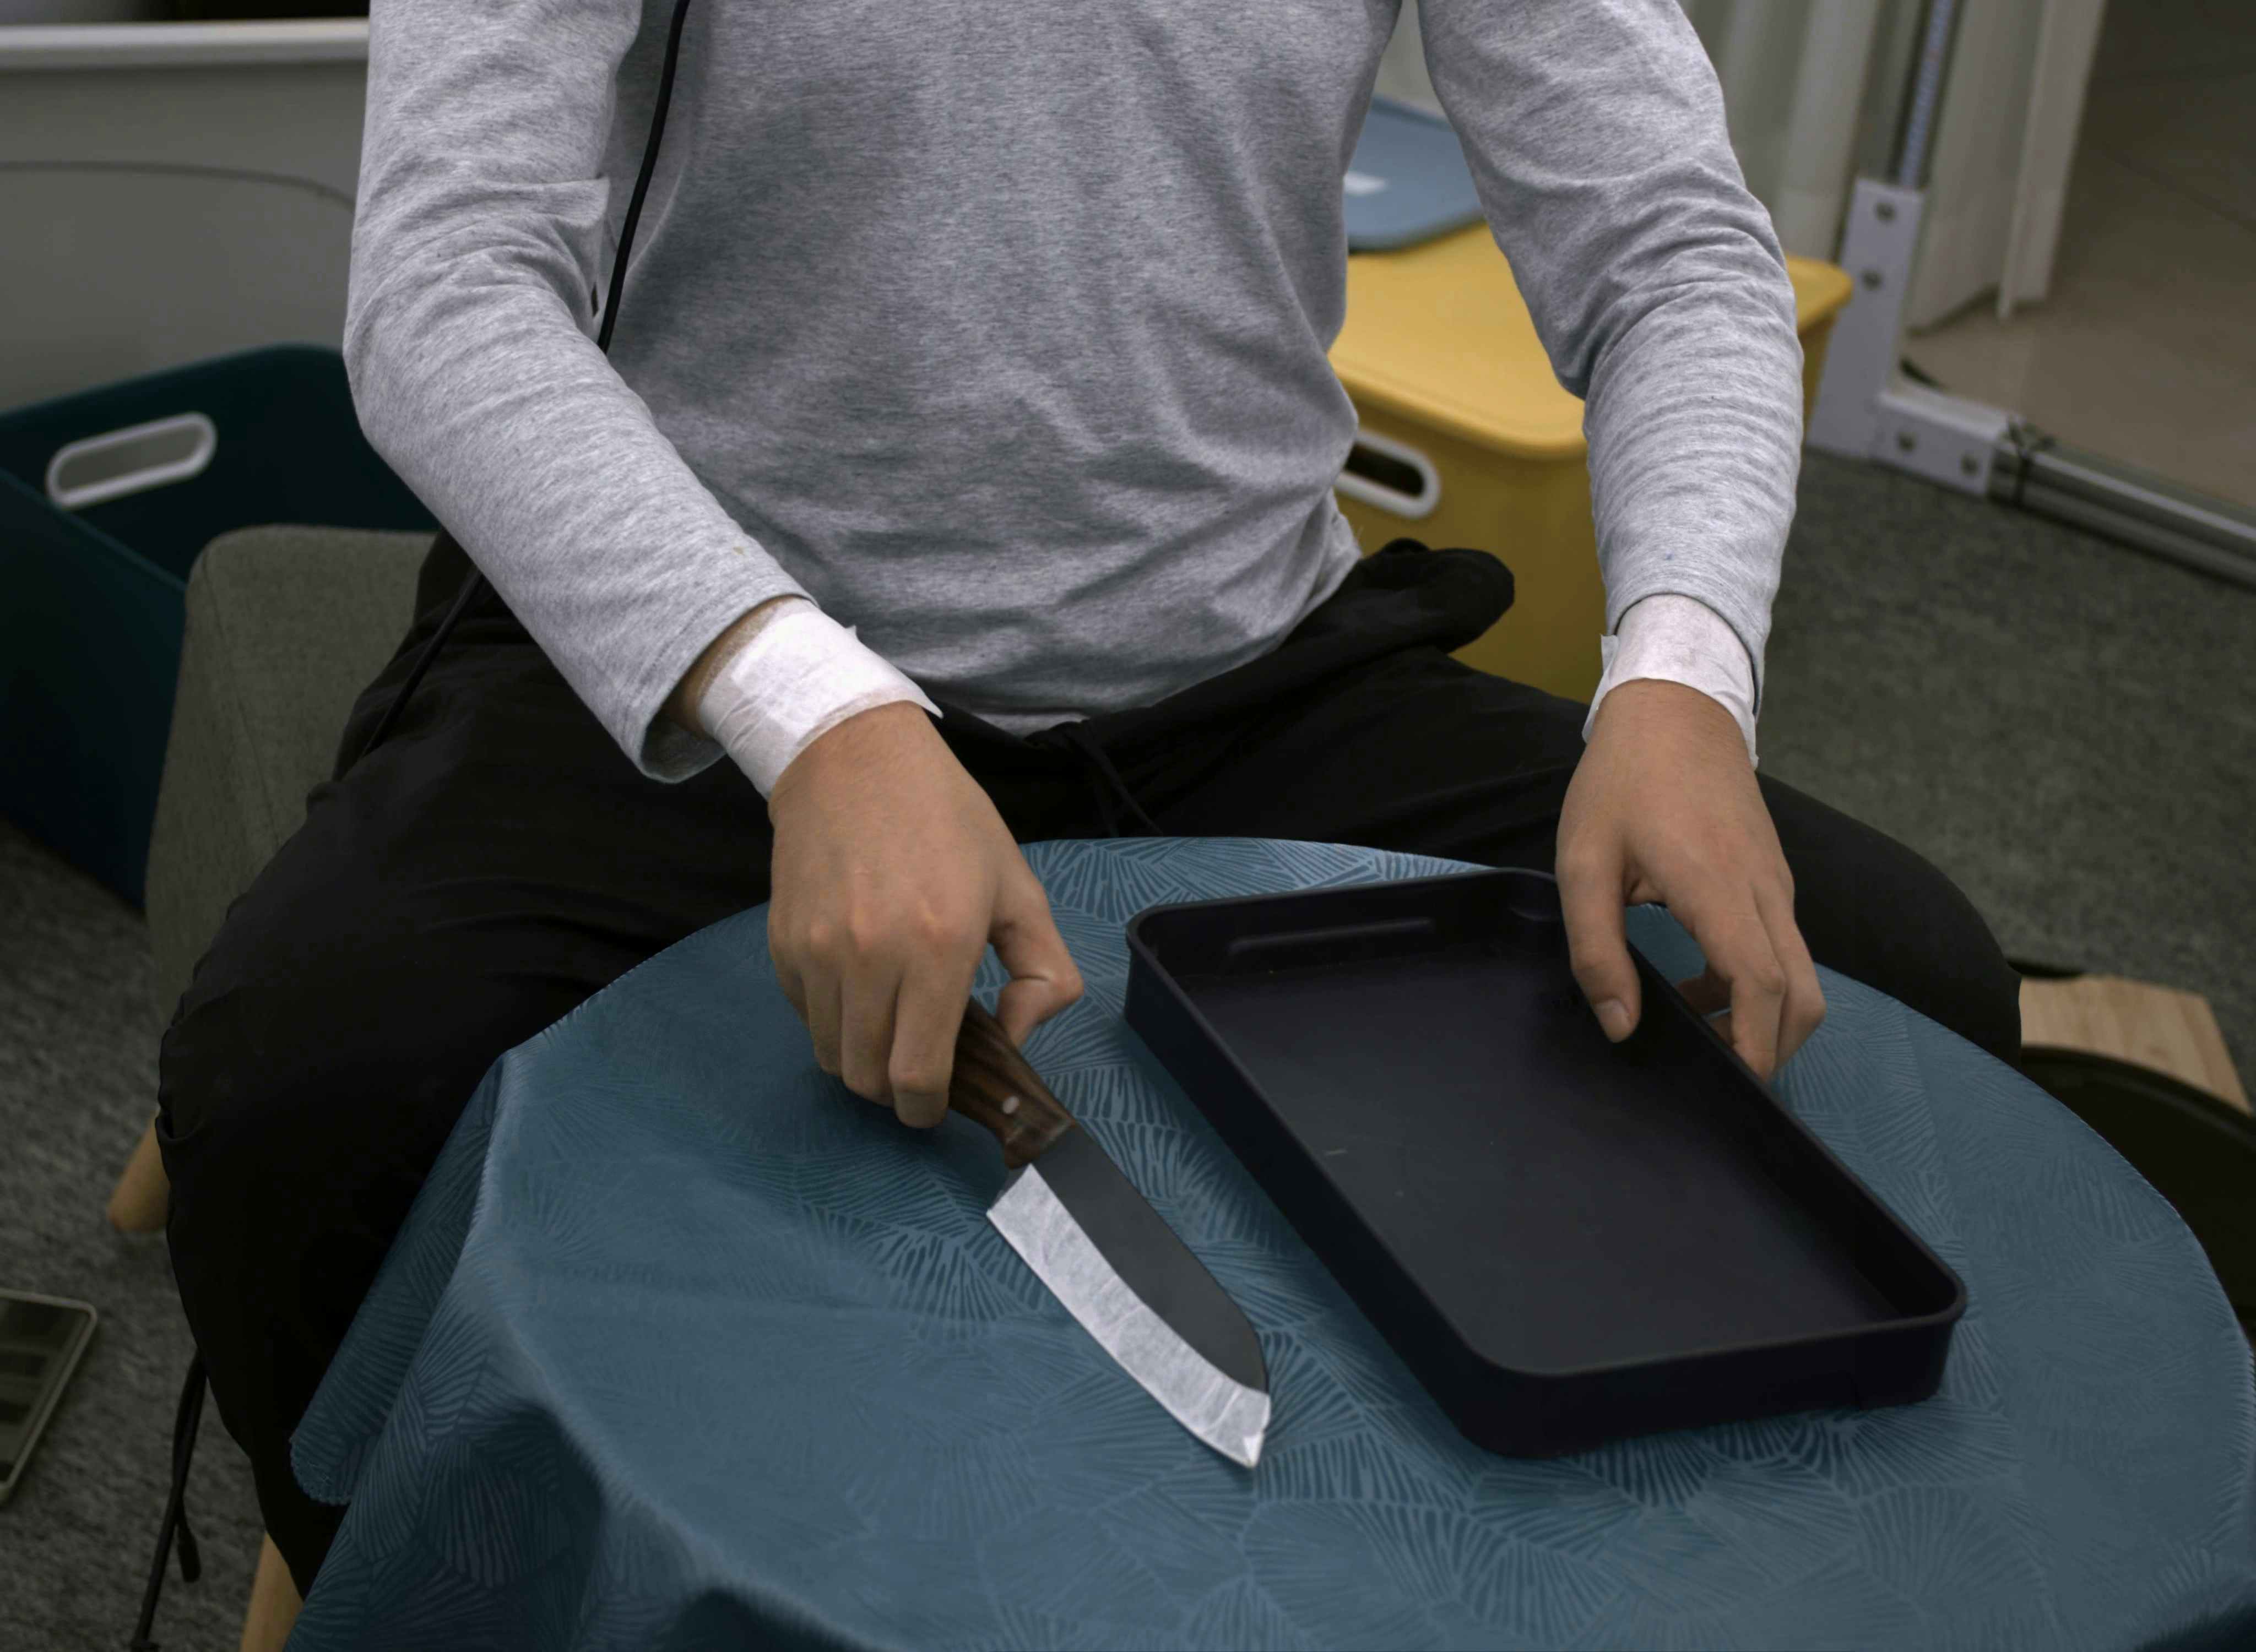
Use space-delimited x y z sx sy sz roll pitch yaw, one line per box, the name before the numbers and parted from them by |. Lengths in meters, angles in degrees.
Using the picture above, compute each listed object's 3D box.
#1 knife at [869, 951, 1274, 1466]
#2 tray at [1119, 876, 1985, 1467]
knife | -0.020 0.123 1.761 0.020 0.050 0.292 41 6 -41
tray | 0.137 0.111 1.822 0.183 0.037 0.321 -7 29 -25
